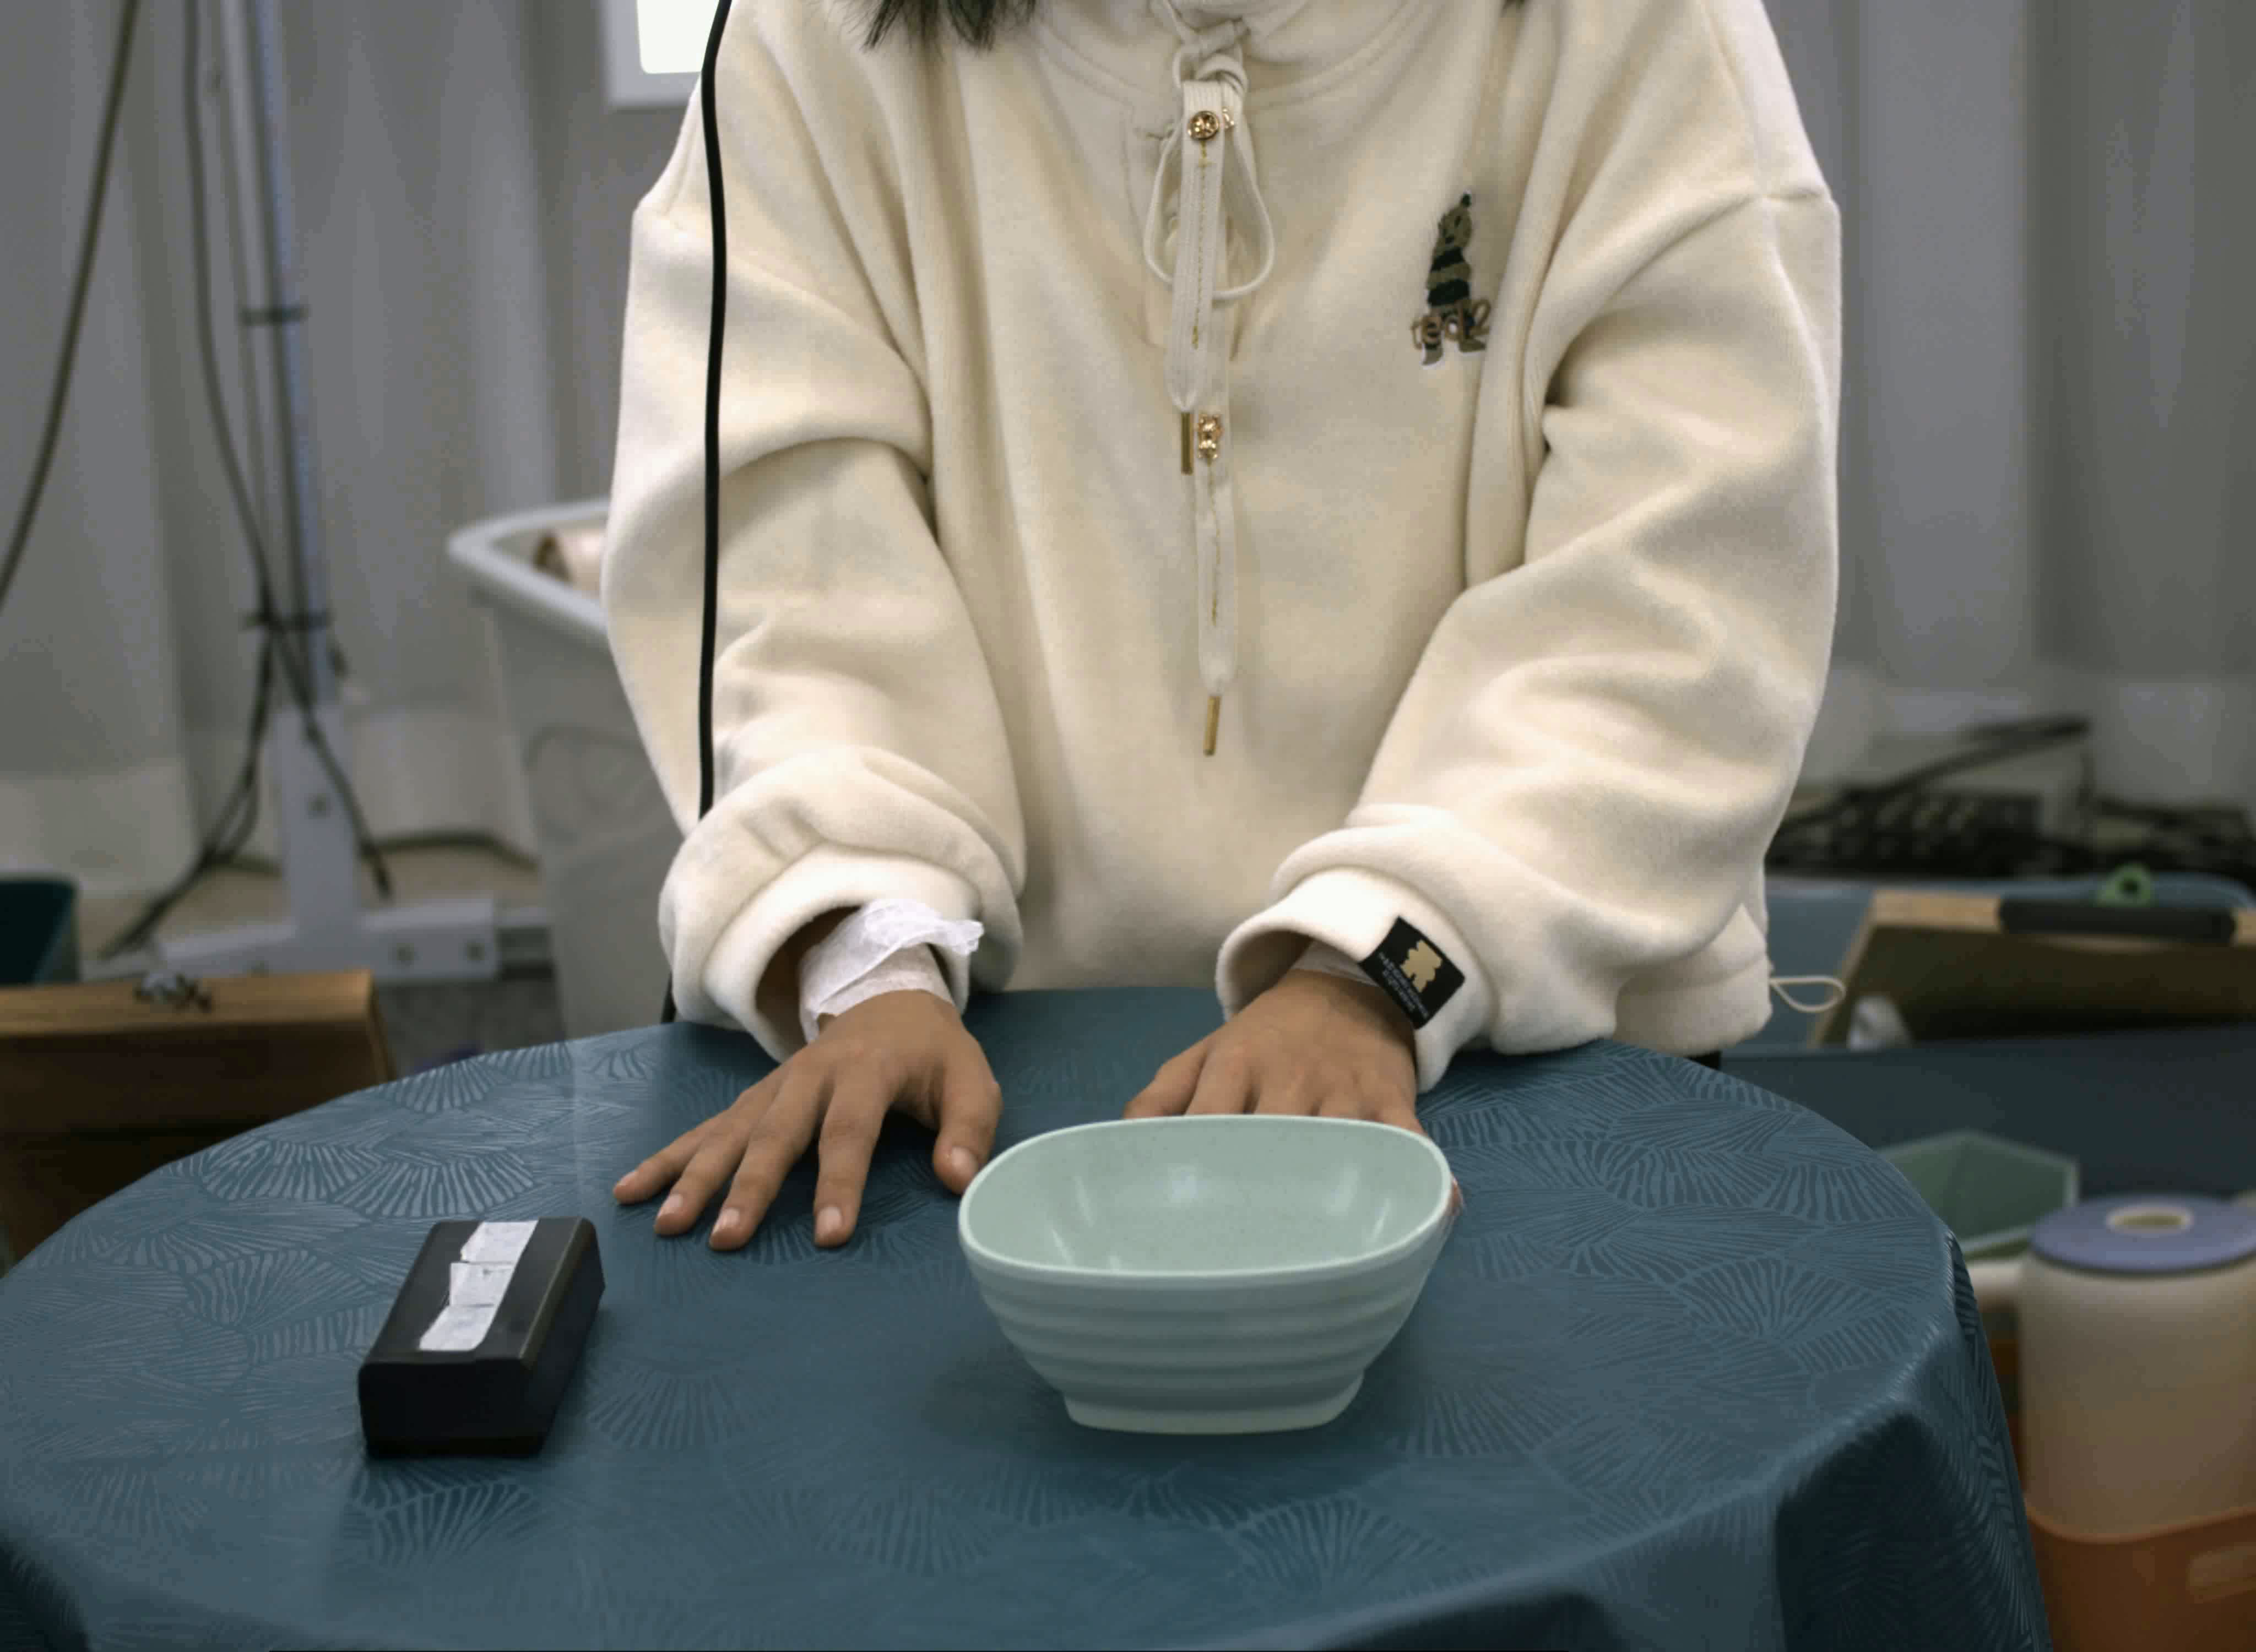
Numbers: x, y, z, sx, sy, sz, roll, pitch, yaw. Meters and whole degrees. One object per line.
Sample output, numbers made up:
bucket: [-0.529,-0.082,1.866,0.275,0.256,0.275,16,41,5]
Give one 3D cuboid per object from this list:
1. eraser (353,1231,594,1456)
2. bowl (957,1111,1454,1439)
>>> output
eraser: [-0.186,0.148,1.573,0.053,0.030,0.126,-1,13,2]
bowl: [0.022,0.130,1.542,0.151,0.058,0.152,0,16,0]
